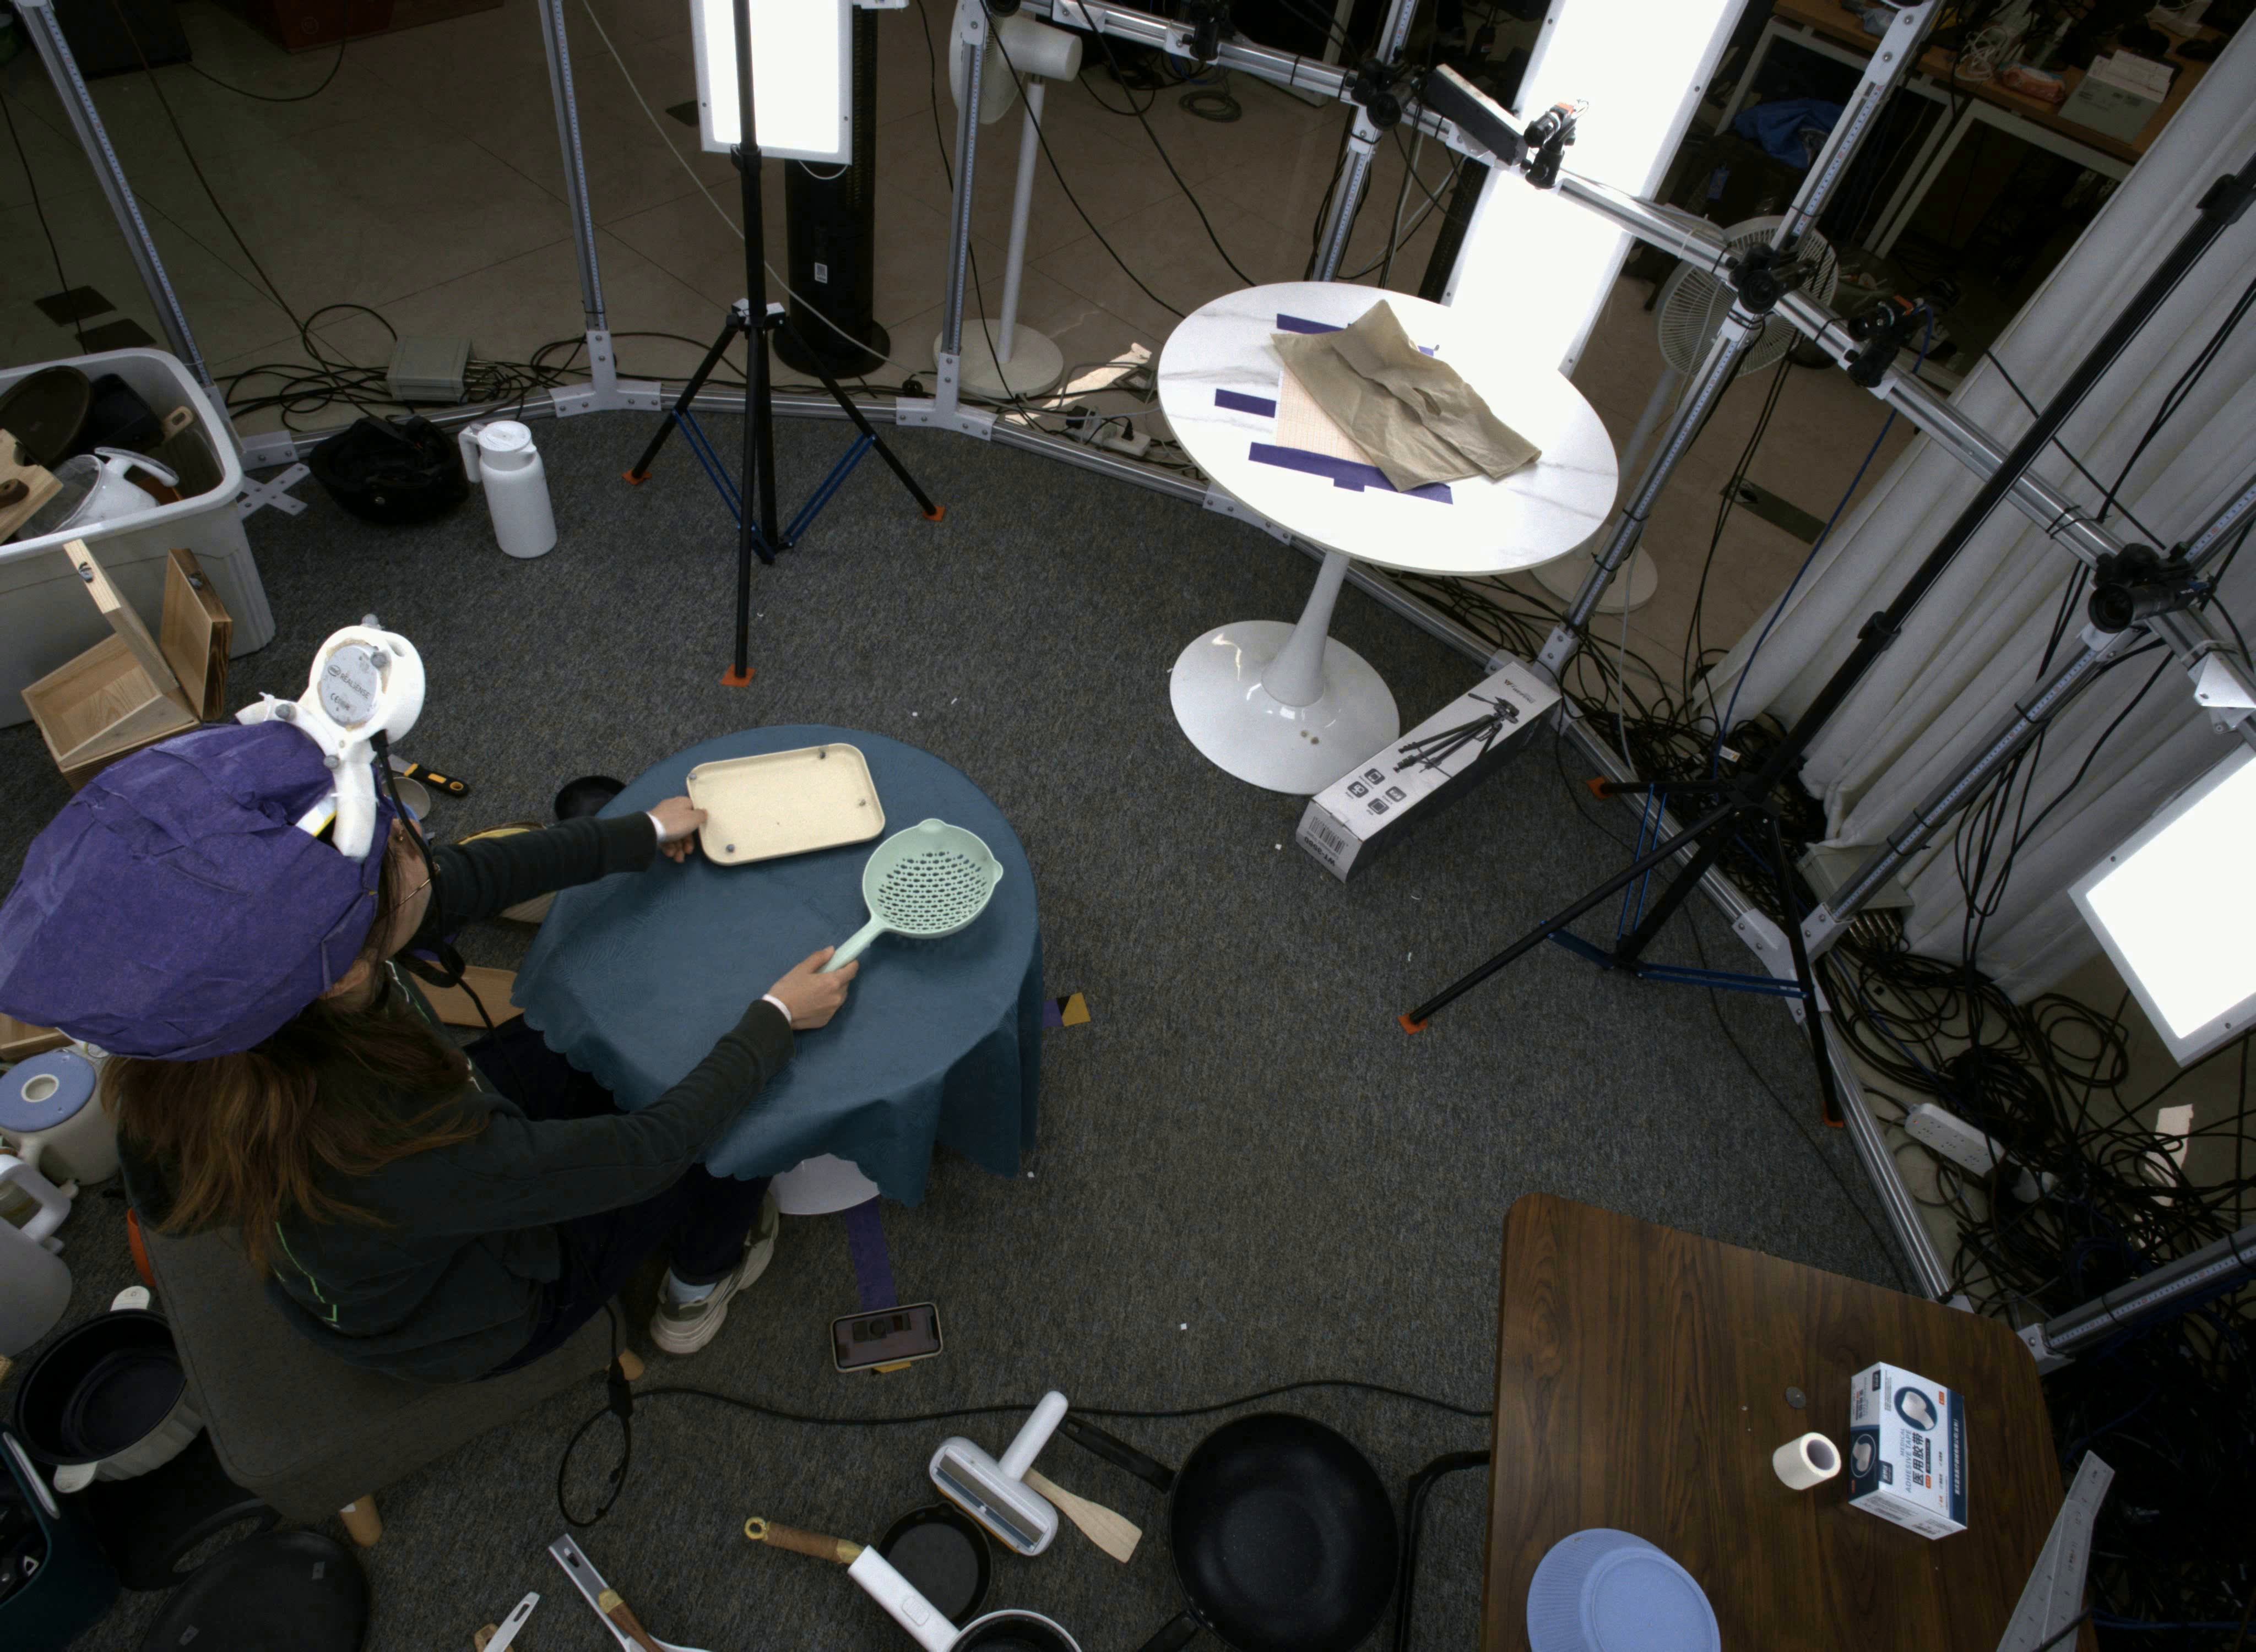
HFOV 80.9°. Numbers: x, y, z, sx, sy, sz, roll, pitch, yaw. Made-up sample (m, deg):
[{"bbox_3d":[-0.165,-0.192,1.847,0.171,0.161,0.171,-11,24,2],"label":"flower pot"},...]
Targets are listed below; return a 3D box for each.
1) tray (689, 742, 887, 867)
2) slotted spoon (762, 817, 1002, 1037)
[{"bbox_3d":[-0.453,-0.030,1.728,0.241,0.018,0.167,-12,58,-24],"label":"tray"},{"bbox_3d":[-0.315,0.128,1.618,0.164,0.077,0.359,34,52,23],"label":"slotted spoon"}]
